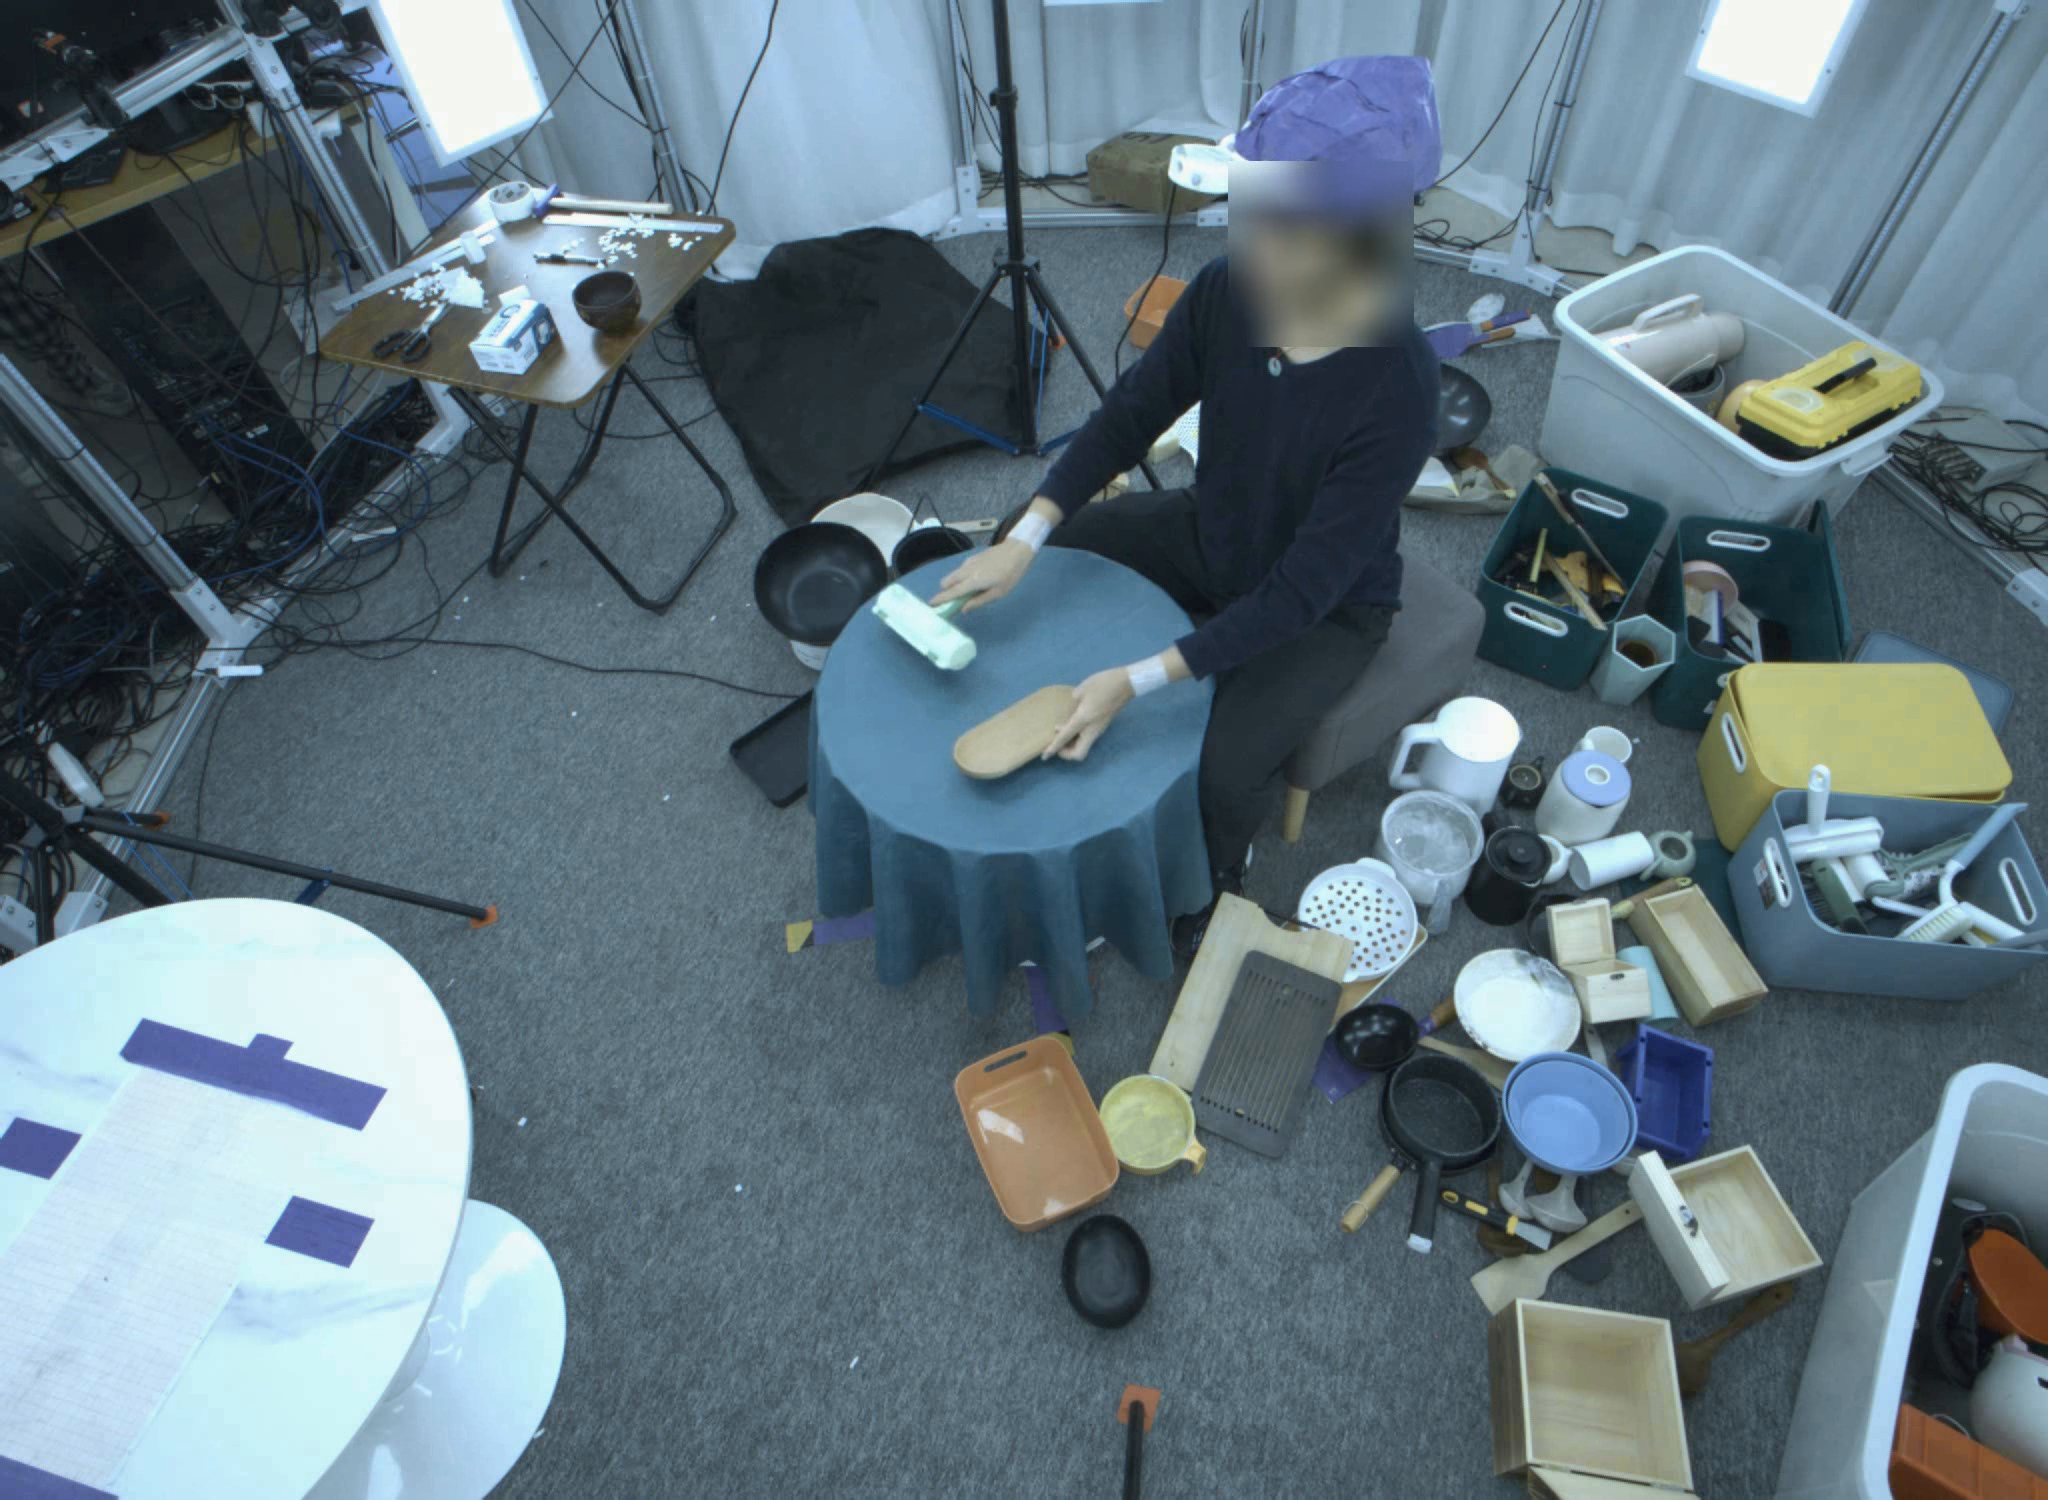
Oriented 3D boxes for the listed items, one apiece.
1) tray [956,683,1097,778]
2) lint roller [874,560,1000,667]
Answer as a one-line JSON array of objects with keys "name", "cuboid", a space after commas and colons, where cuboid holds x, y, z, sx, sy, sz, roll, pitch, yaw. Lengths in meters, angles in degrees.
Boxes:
[{"name": "tray", "cuboid": [0.005, -0.029, 1.772, 0.233, 0.020, 0.099, -31, 51, -26]}, {"name": "lint roller", "cuboid": [-0.114, -0.234, 1.850, 0.183, 0.084, 0.194, -48, 56, -5]}]
